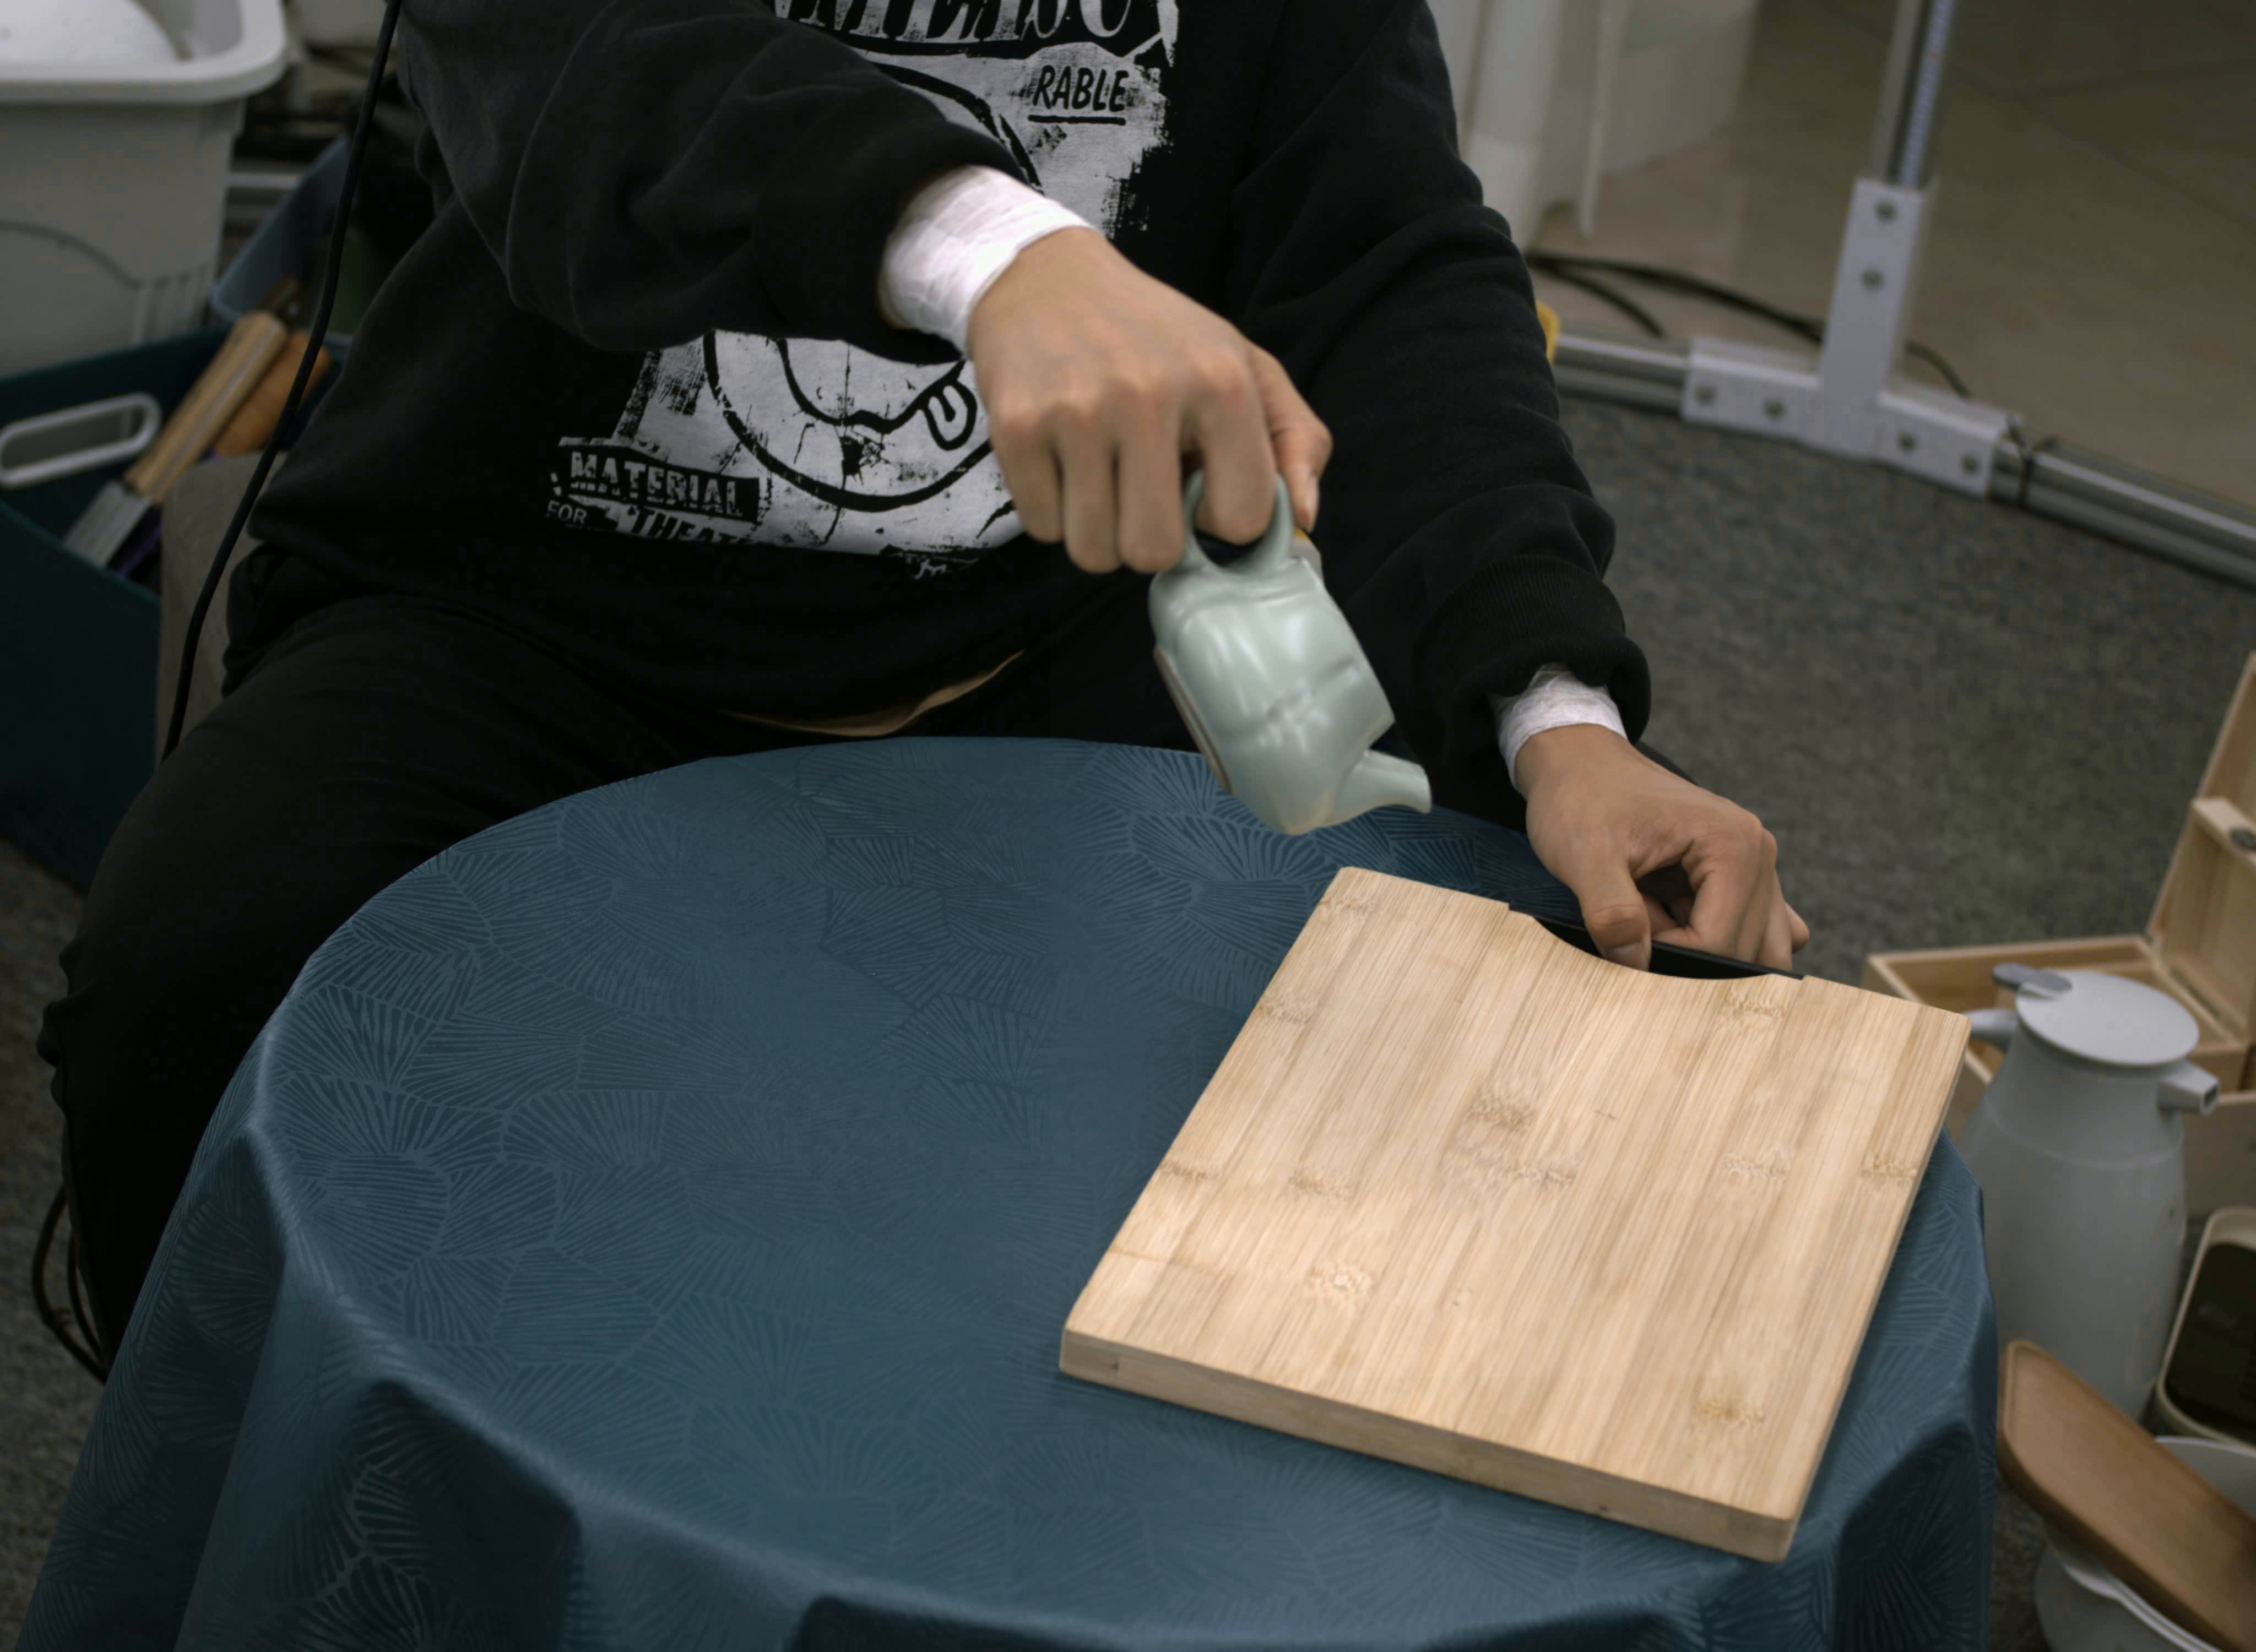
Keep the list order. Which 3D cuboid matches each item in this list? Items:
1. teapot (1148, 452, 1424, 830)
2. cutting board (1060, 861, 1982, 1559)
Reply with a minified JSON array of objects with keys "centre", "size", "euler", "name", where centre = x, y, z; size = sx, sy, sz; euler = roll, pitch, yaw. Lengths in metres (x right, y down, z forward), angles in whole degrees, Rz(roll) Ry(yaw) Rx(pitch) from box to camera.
[{"centre":[0.044,-0.053,1.698],"size":[0.061,0.136,0.097],"euler":[-26,19,-2],"name":"teapot"},{"centre":[0.143,0.120,1.817],"size":[0.251,0.023,0.349],"euler":[13,29,12],"name":"cutting board"}]
